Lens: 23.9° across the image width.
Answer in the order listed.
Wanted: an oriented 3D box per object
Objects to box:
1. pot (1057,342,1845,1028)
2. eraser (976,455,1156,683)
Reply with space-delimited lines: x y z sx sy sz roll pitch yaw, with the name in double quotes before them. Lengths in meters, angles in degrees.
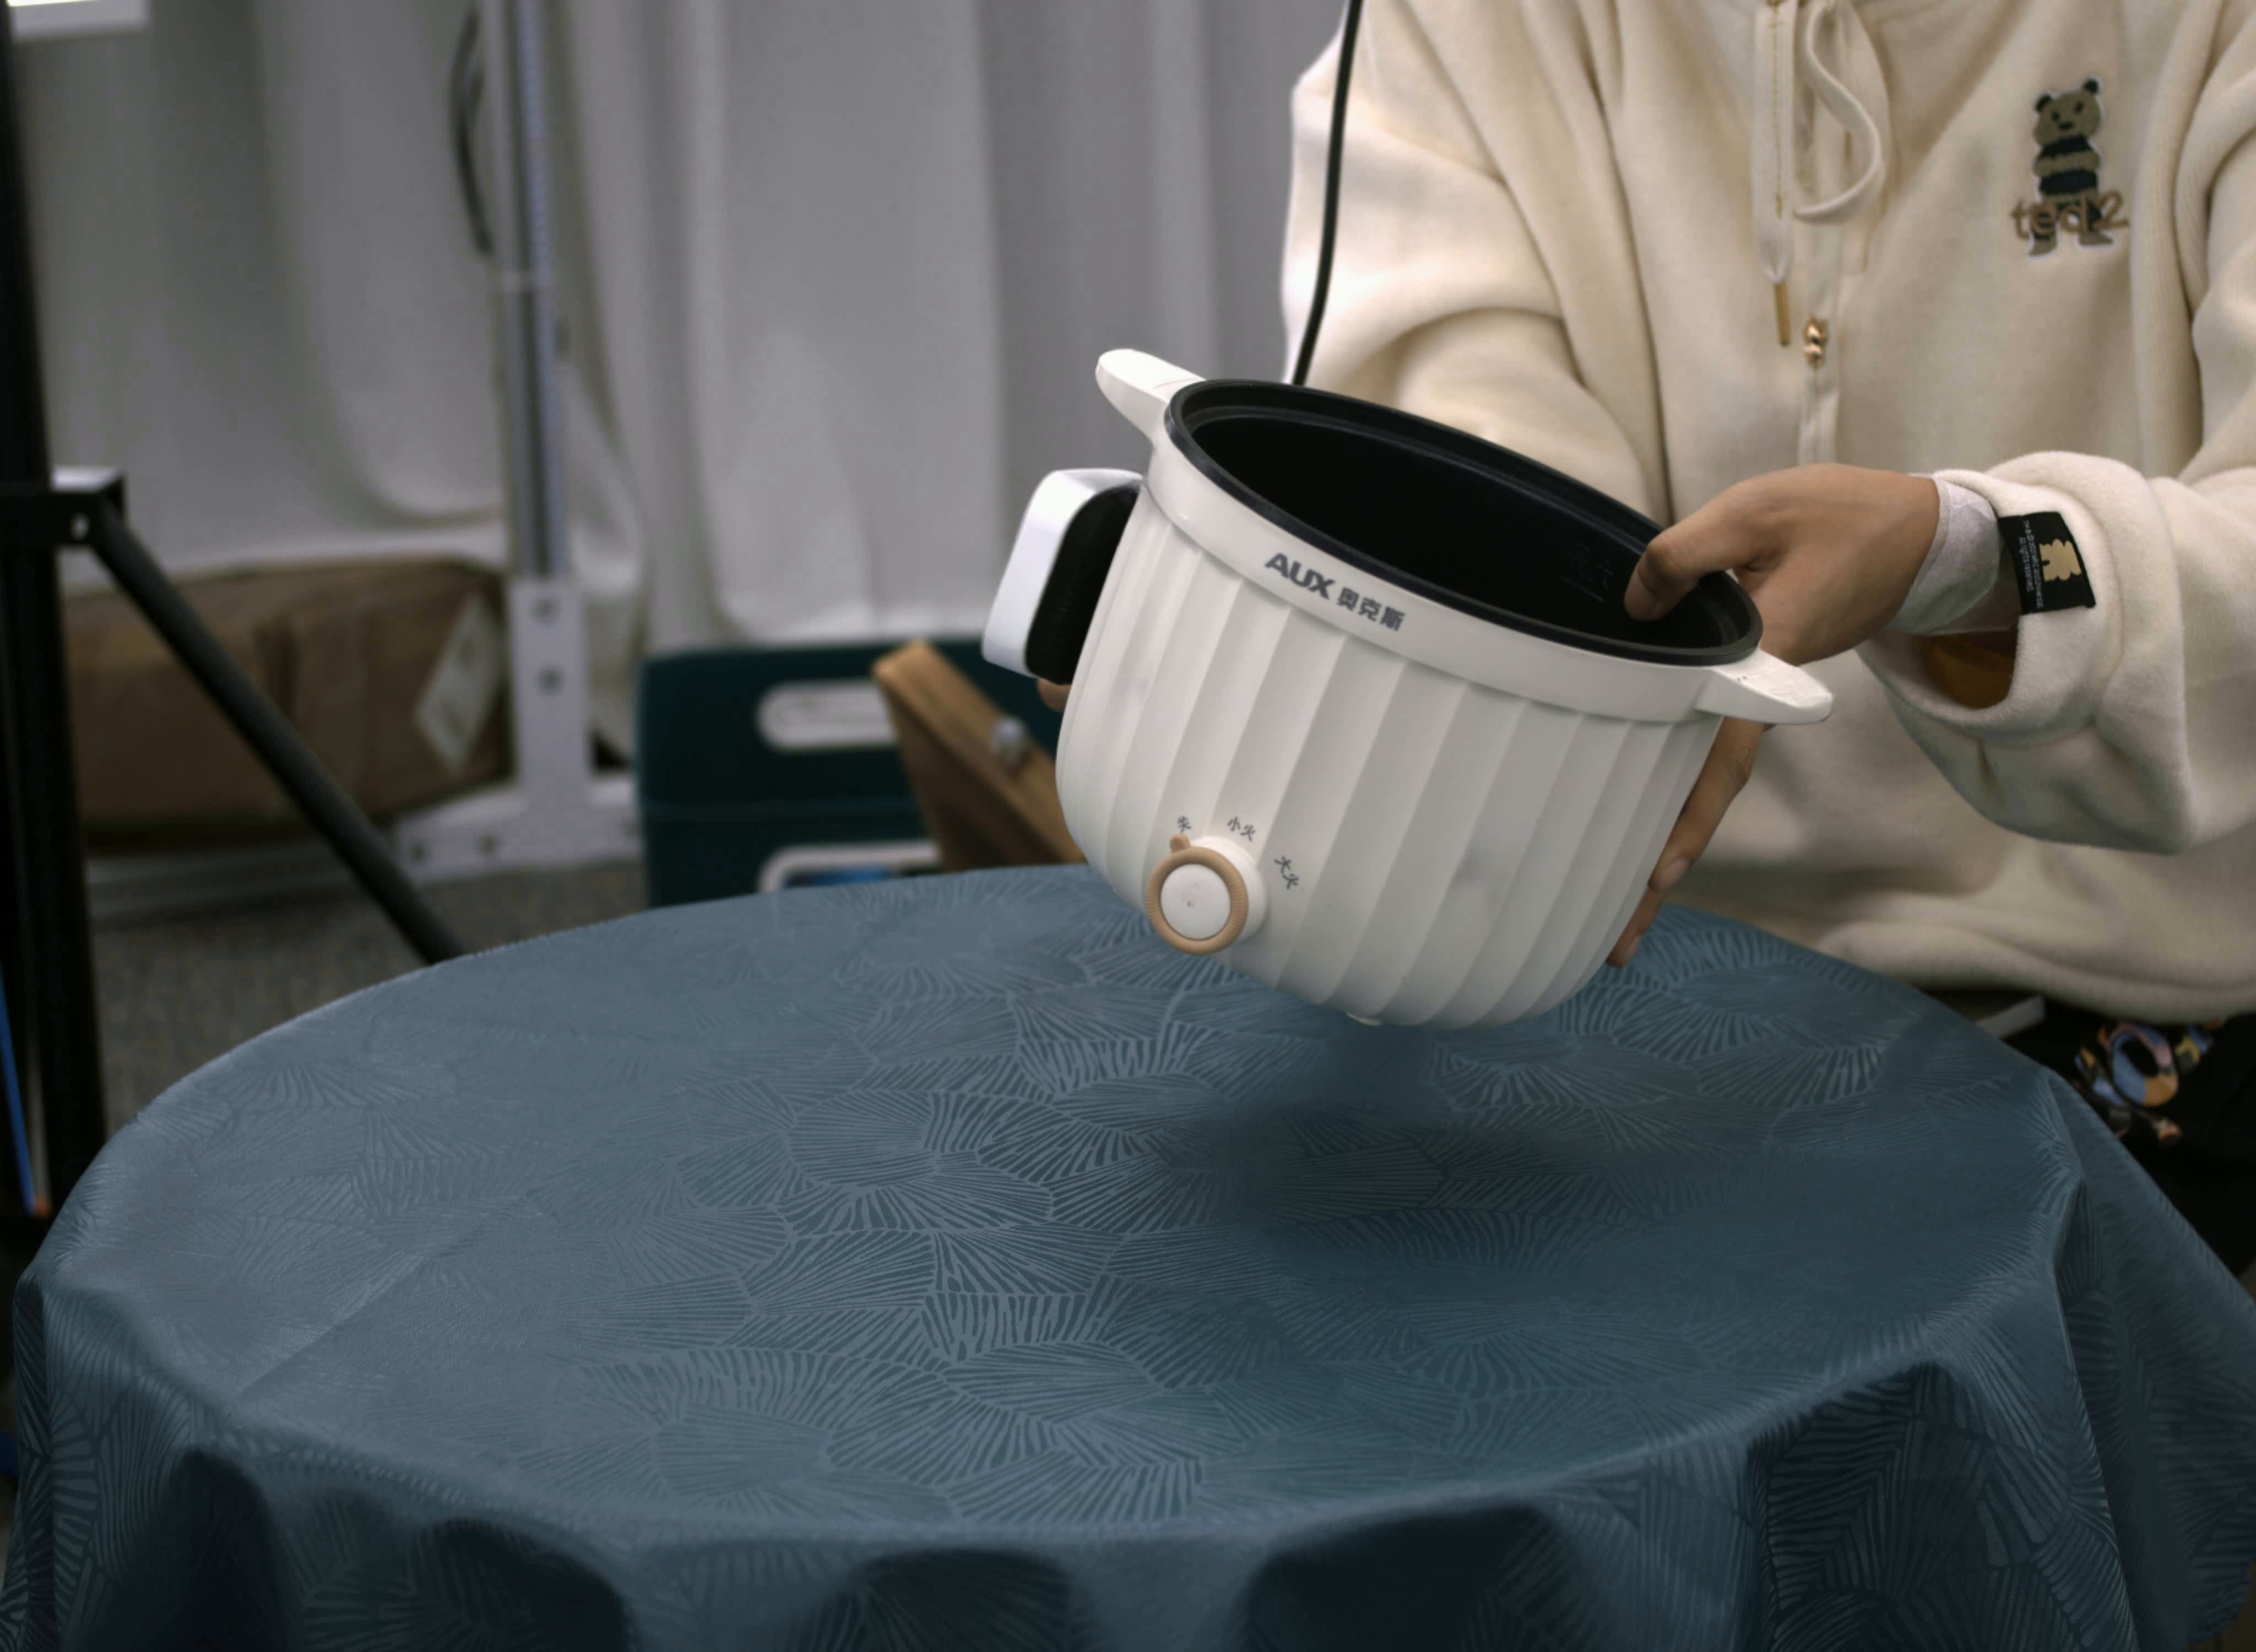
"pot" 0.073 -0.030 1.518 0.243 0.143 0.187 26 16 20
"eraser" 0.001 -0.075 1.591 0.035 0.063 0.128 29 15 24
